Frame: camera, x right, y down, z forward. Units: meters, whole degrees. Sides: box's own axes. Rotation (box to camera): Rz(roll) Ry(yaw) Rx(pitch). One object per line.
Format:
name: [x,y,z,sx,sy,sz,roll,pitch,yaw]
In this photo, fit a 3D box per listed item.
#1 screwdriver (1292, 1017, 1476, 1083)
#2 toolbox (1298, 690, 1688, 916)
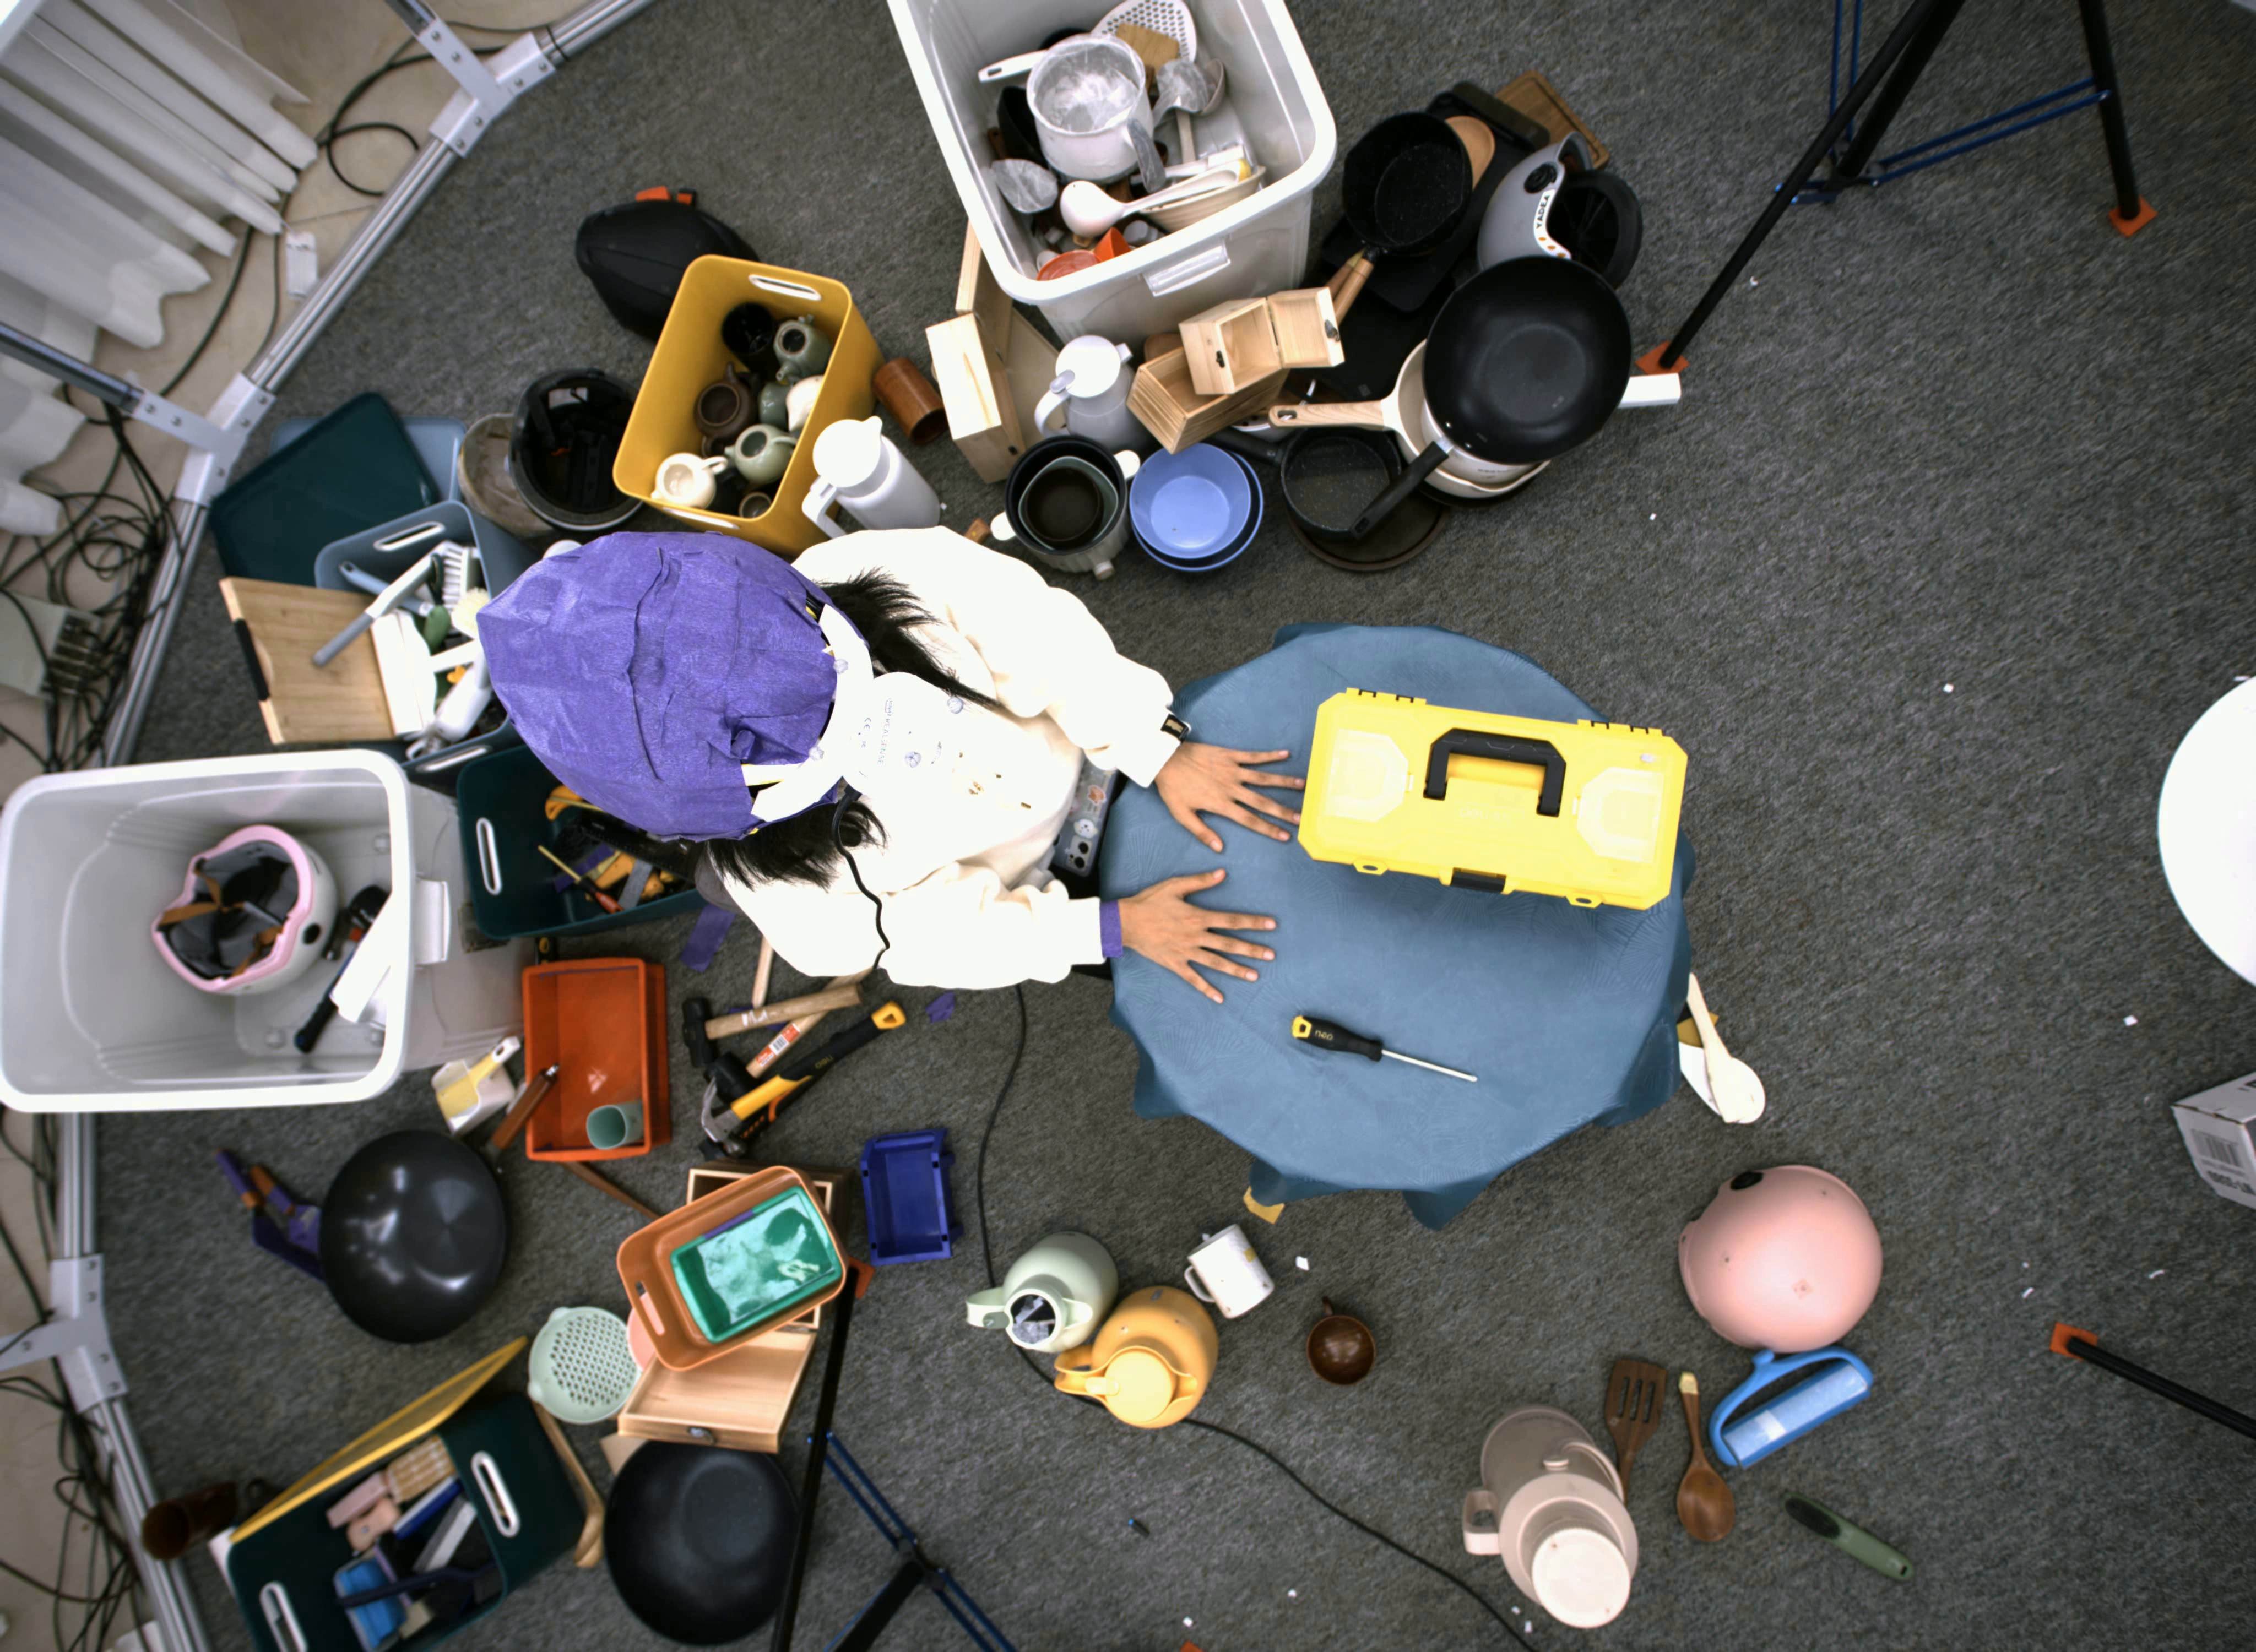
screwdriver: [0.266,0.235,1.436,0.196,0.031,0.031,17,88,10]
toolbox: [0.354,-0.023,1.362,0.352,0.173,0.181,9,87,11]
